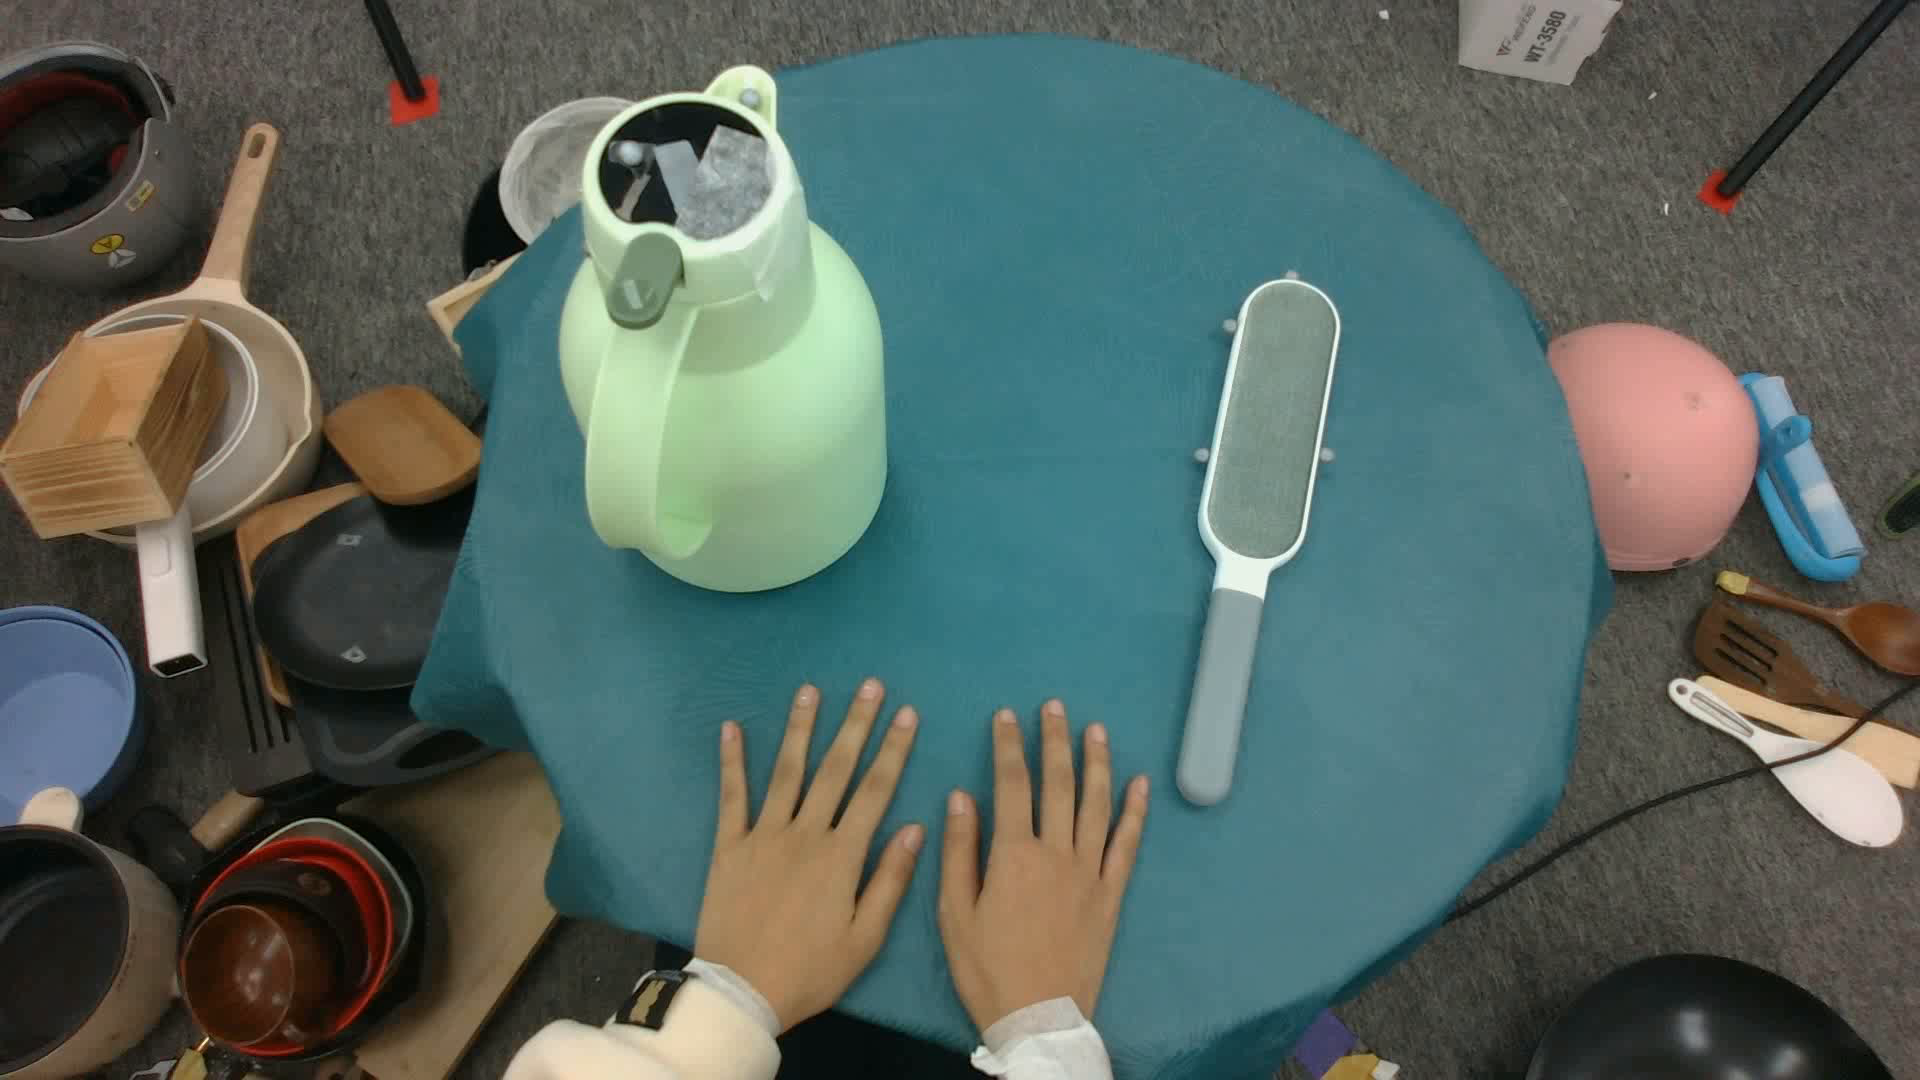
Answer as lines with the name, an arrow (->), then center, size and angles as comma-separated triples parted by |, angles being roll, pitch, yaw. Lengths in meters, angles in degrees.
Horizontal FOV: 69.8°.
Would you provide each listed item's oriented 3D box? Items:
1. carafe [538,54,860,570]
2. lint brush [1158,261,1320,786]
carafe -> -0.119, -0.079, 0.610 | 0.144, 0.256, 0.187 | 15, 70, 0
lint brush -> 0.143, -0.019, 0.727 | 0.060, 0.021, 0.310 | 15, 67, 0
